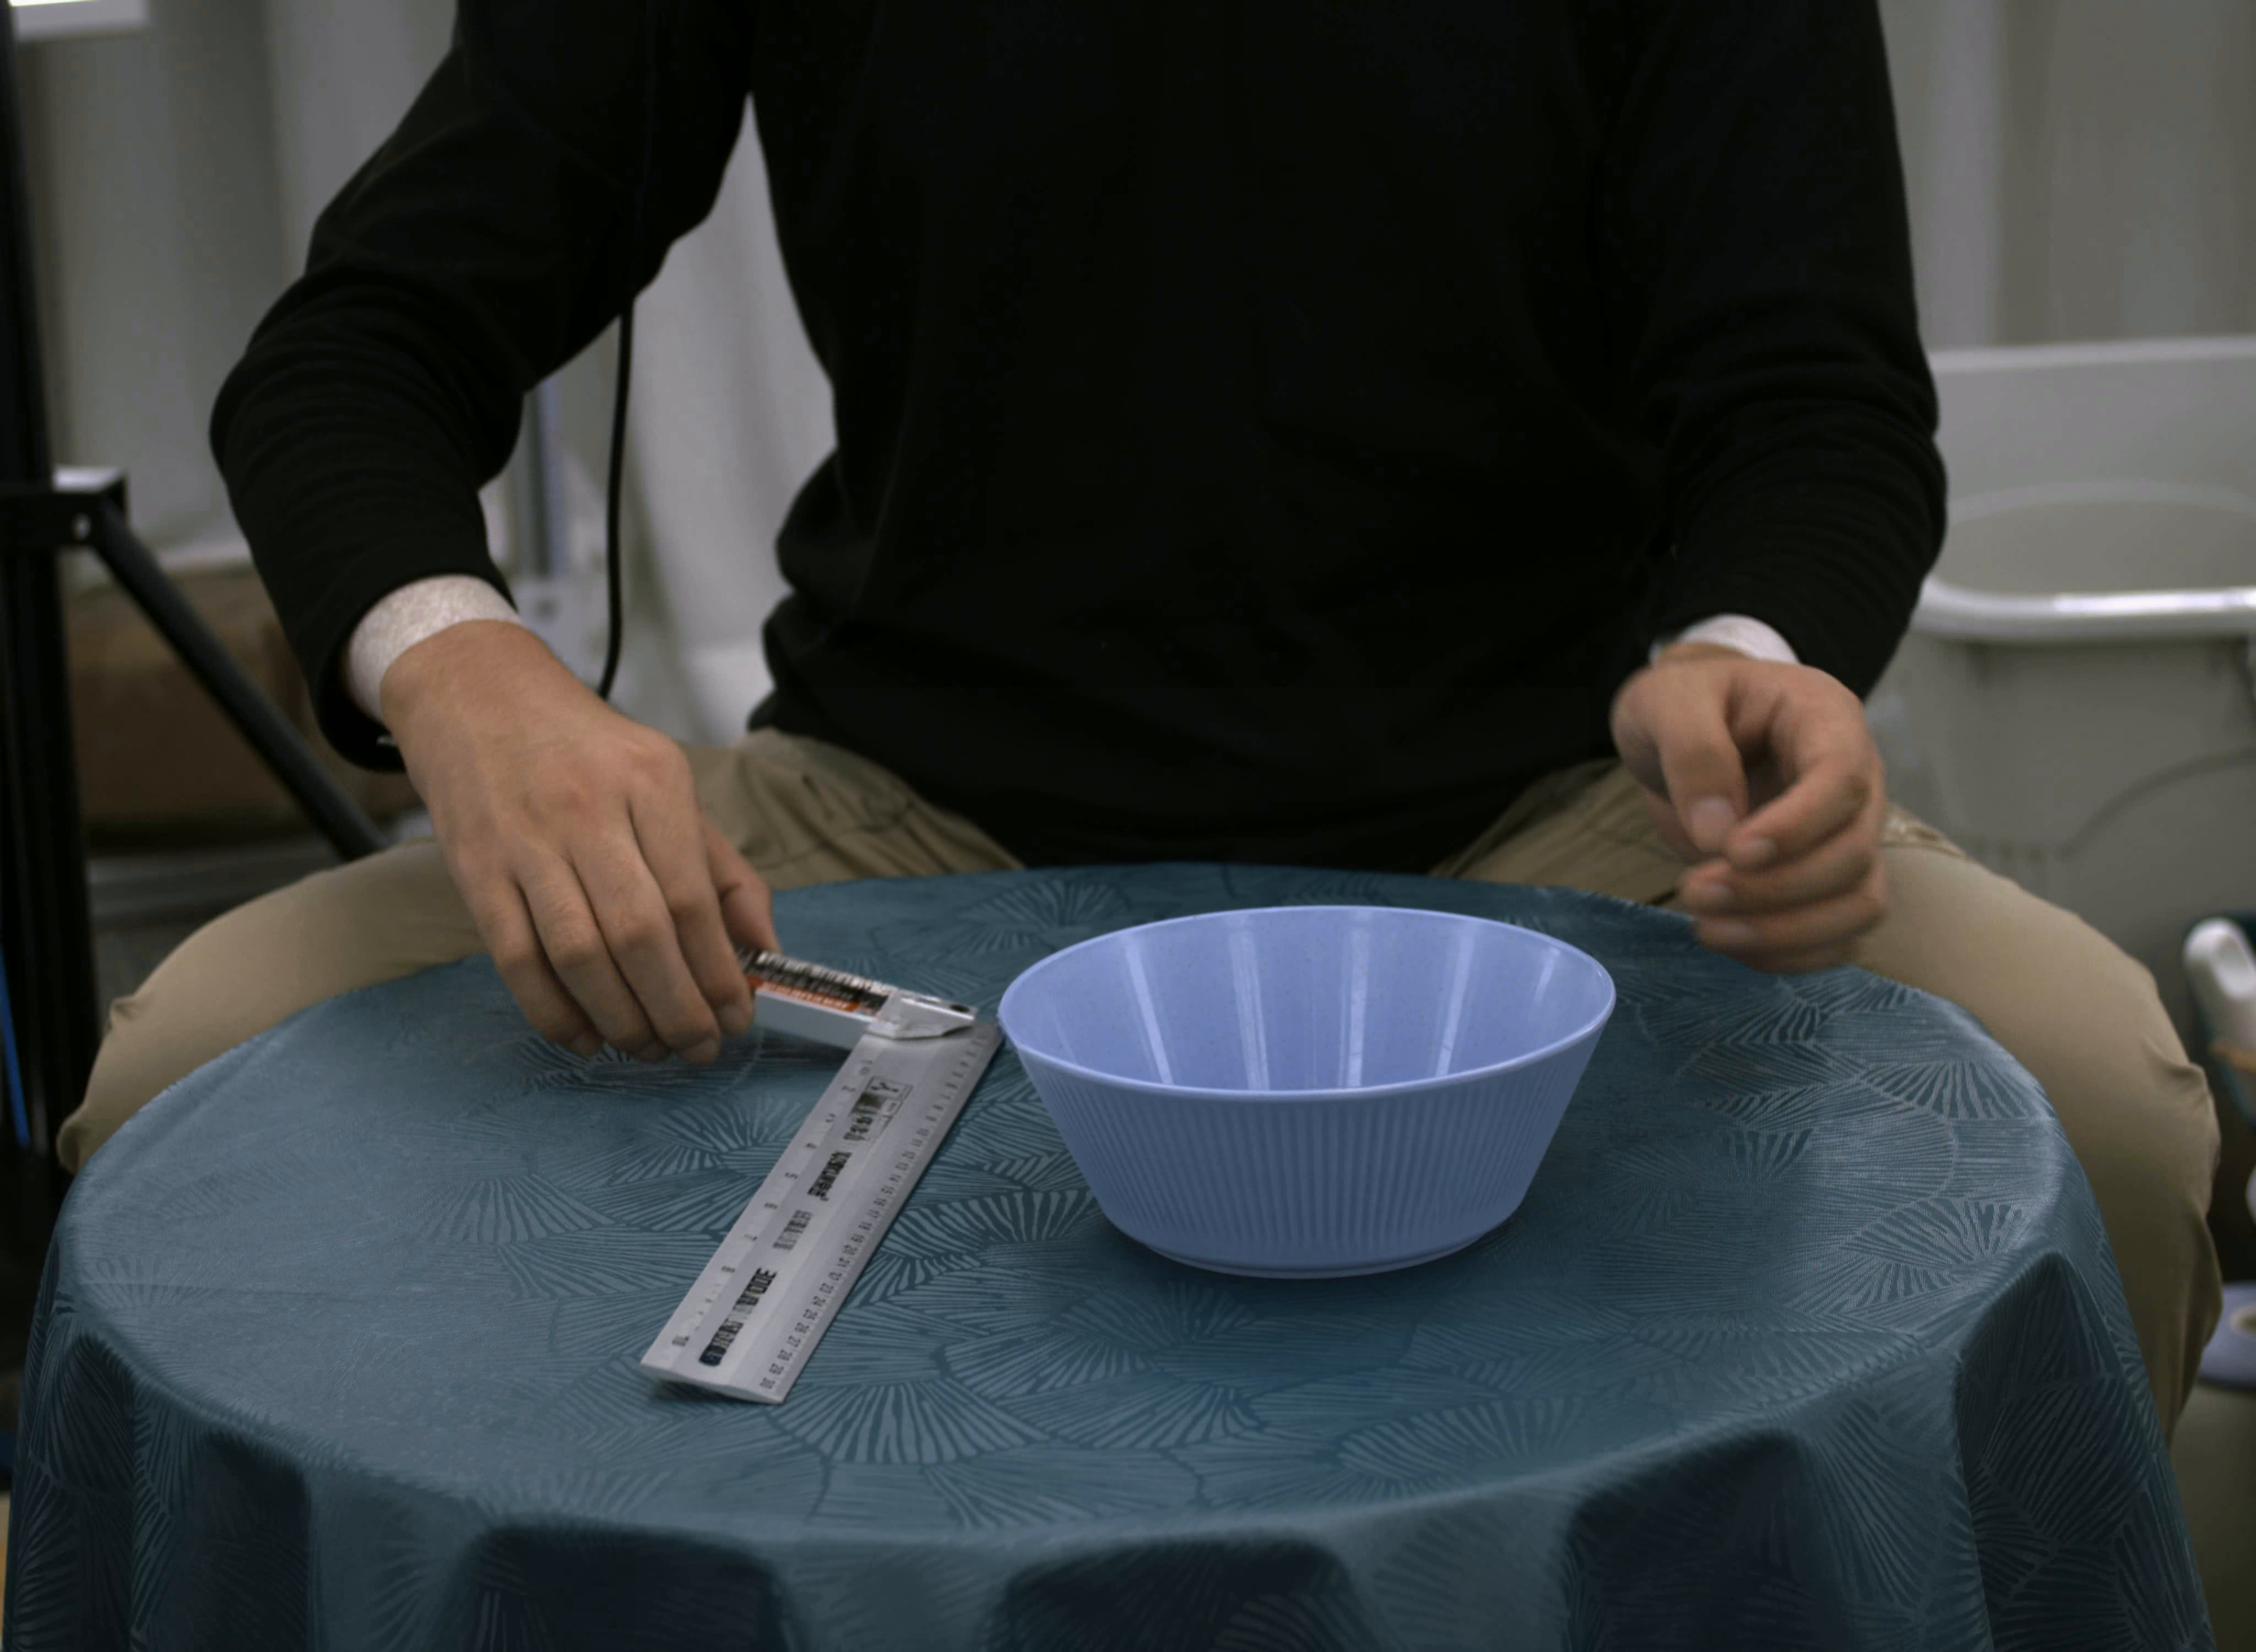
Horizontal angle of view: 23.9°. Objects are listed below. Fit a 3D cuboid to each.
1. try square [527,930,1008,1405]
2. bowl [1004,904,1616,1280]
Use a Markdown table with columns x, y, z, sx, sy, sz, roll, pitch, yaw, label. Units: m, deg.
| x | y | z | sx | sy | sz | roll | pitch | yaw | label |
| --- | --- | --- | --- | --- | --- | --- | --- | --- | --- |
| -0.136 | 0.096 | 1.569 | 0.153 | 0.016 | 0.311 | 10 | 18 | 8 | try square |
| 0.053 | 0.079 | 1.523 | 0.175 | 0.070 | 0.177 | -3 | 16 | -1 | bowl |
